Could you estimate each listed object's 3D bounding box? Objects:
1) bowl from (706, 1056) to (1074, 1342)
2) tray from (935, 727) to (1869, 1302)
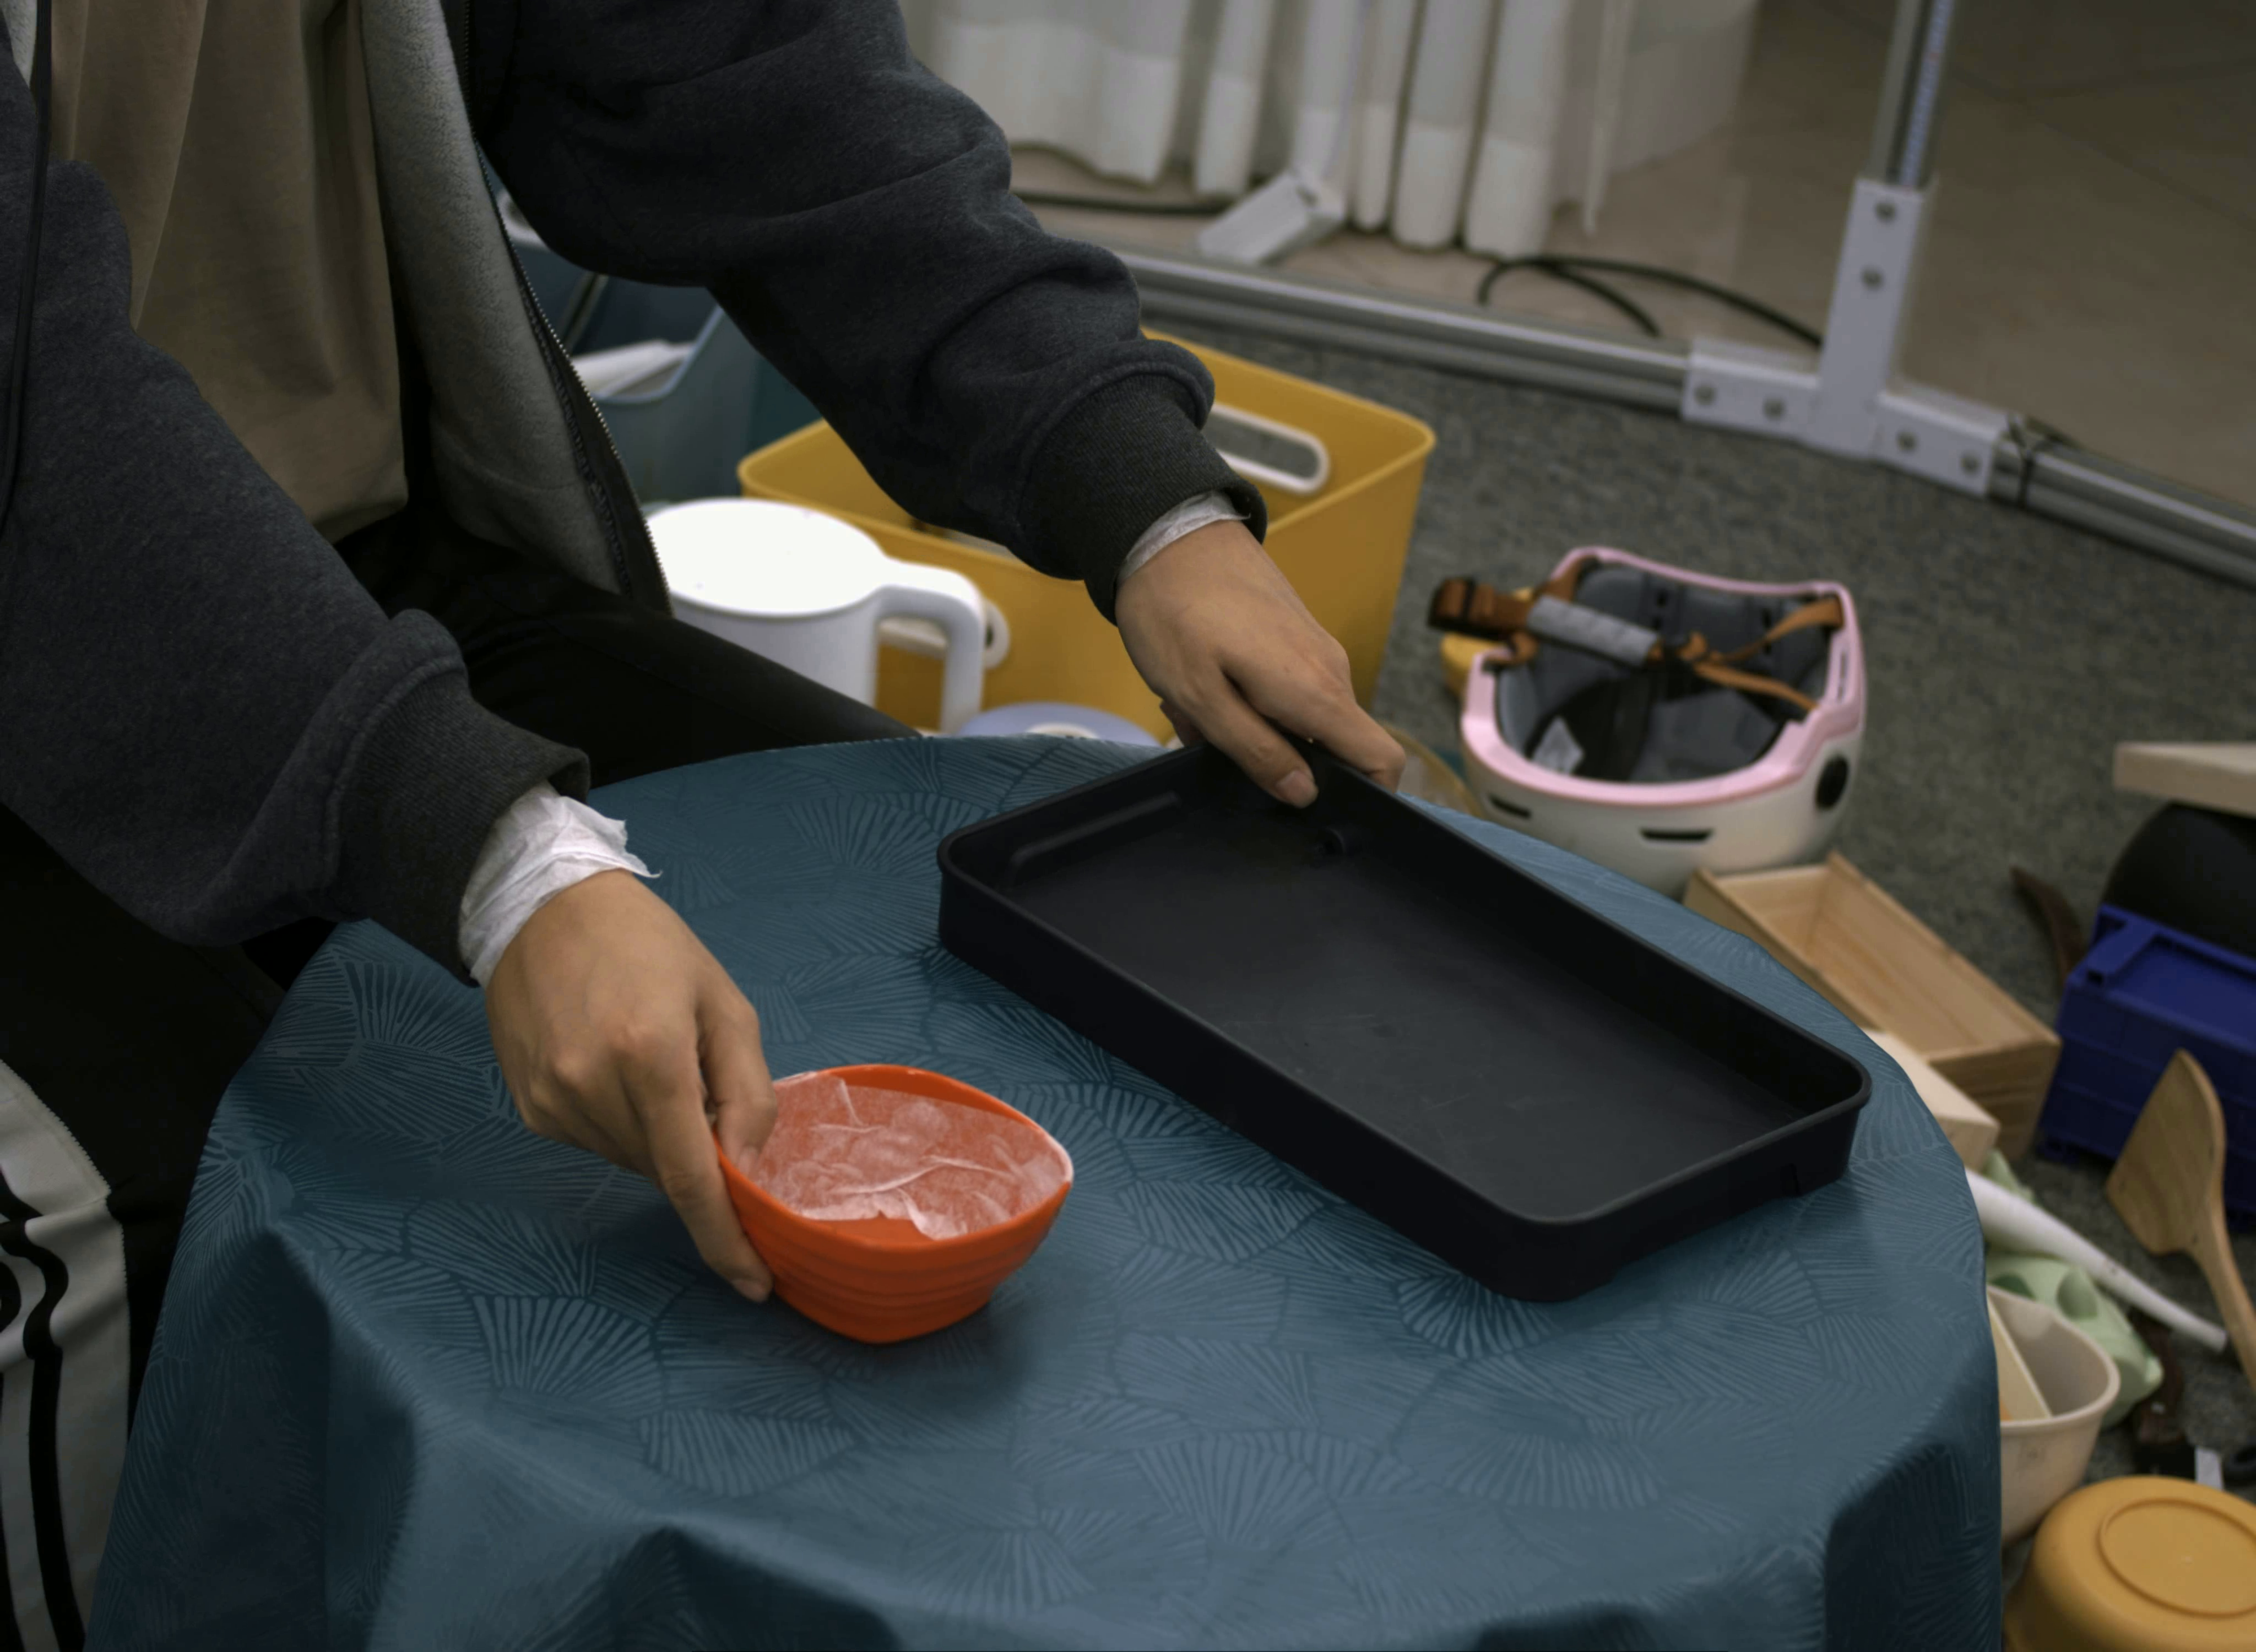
[{"bbox_3d":[-0.079,0.125,1.720,0.118,0.051,0.119,6,27,-3],"label":"bowl"},{"bbox_3d":[0.092,0.061,1.901,0.183,0.037,0.320,-19,37,-39],"label":"tray"}]
